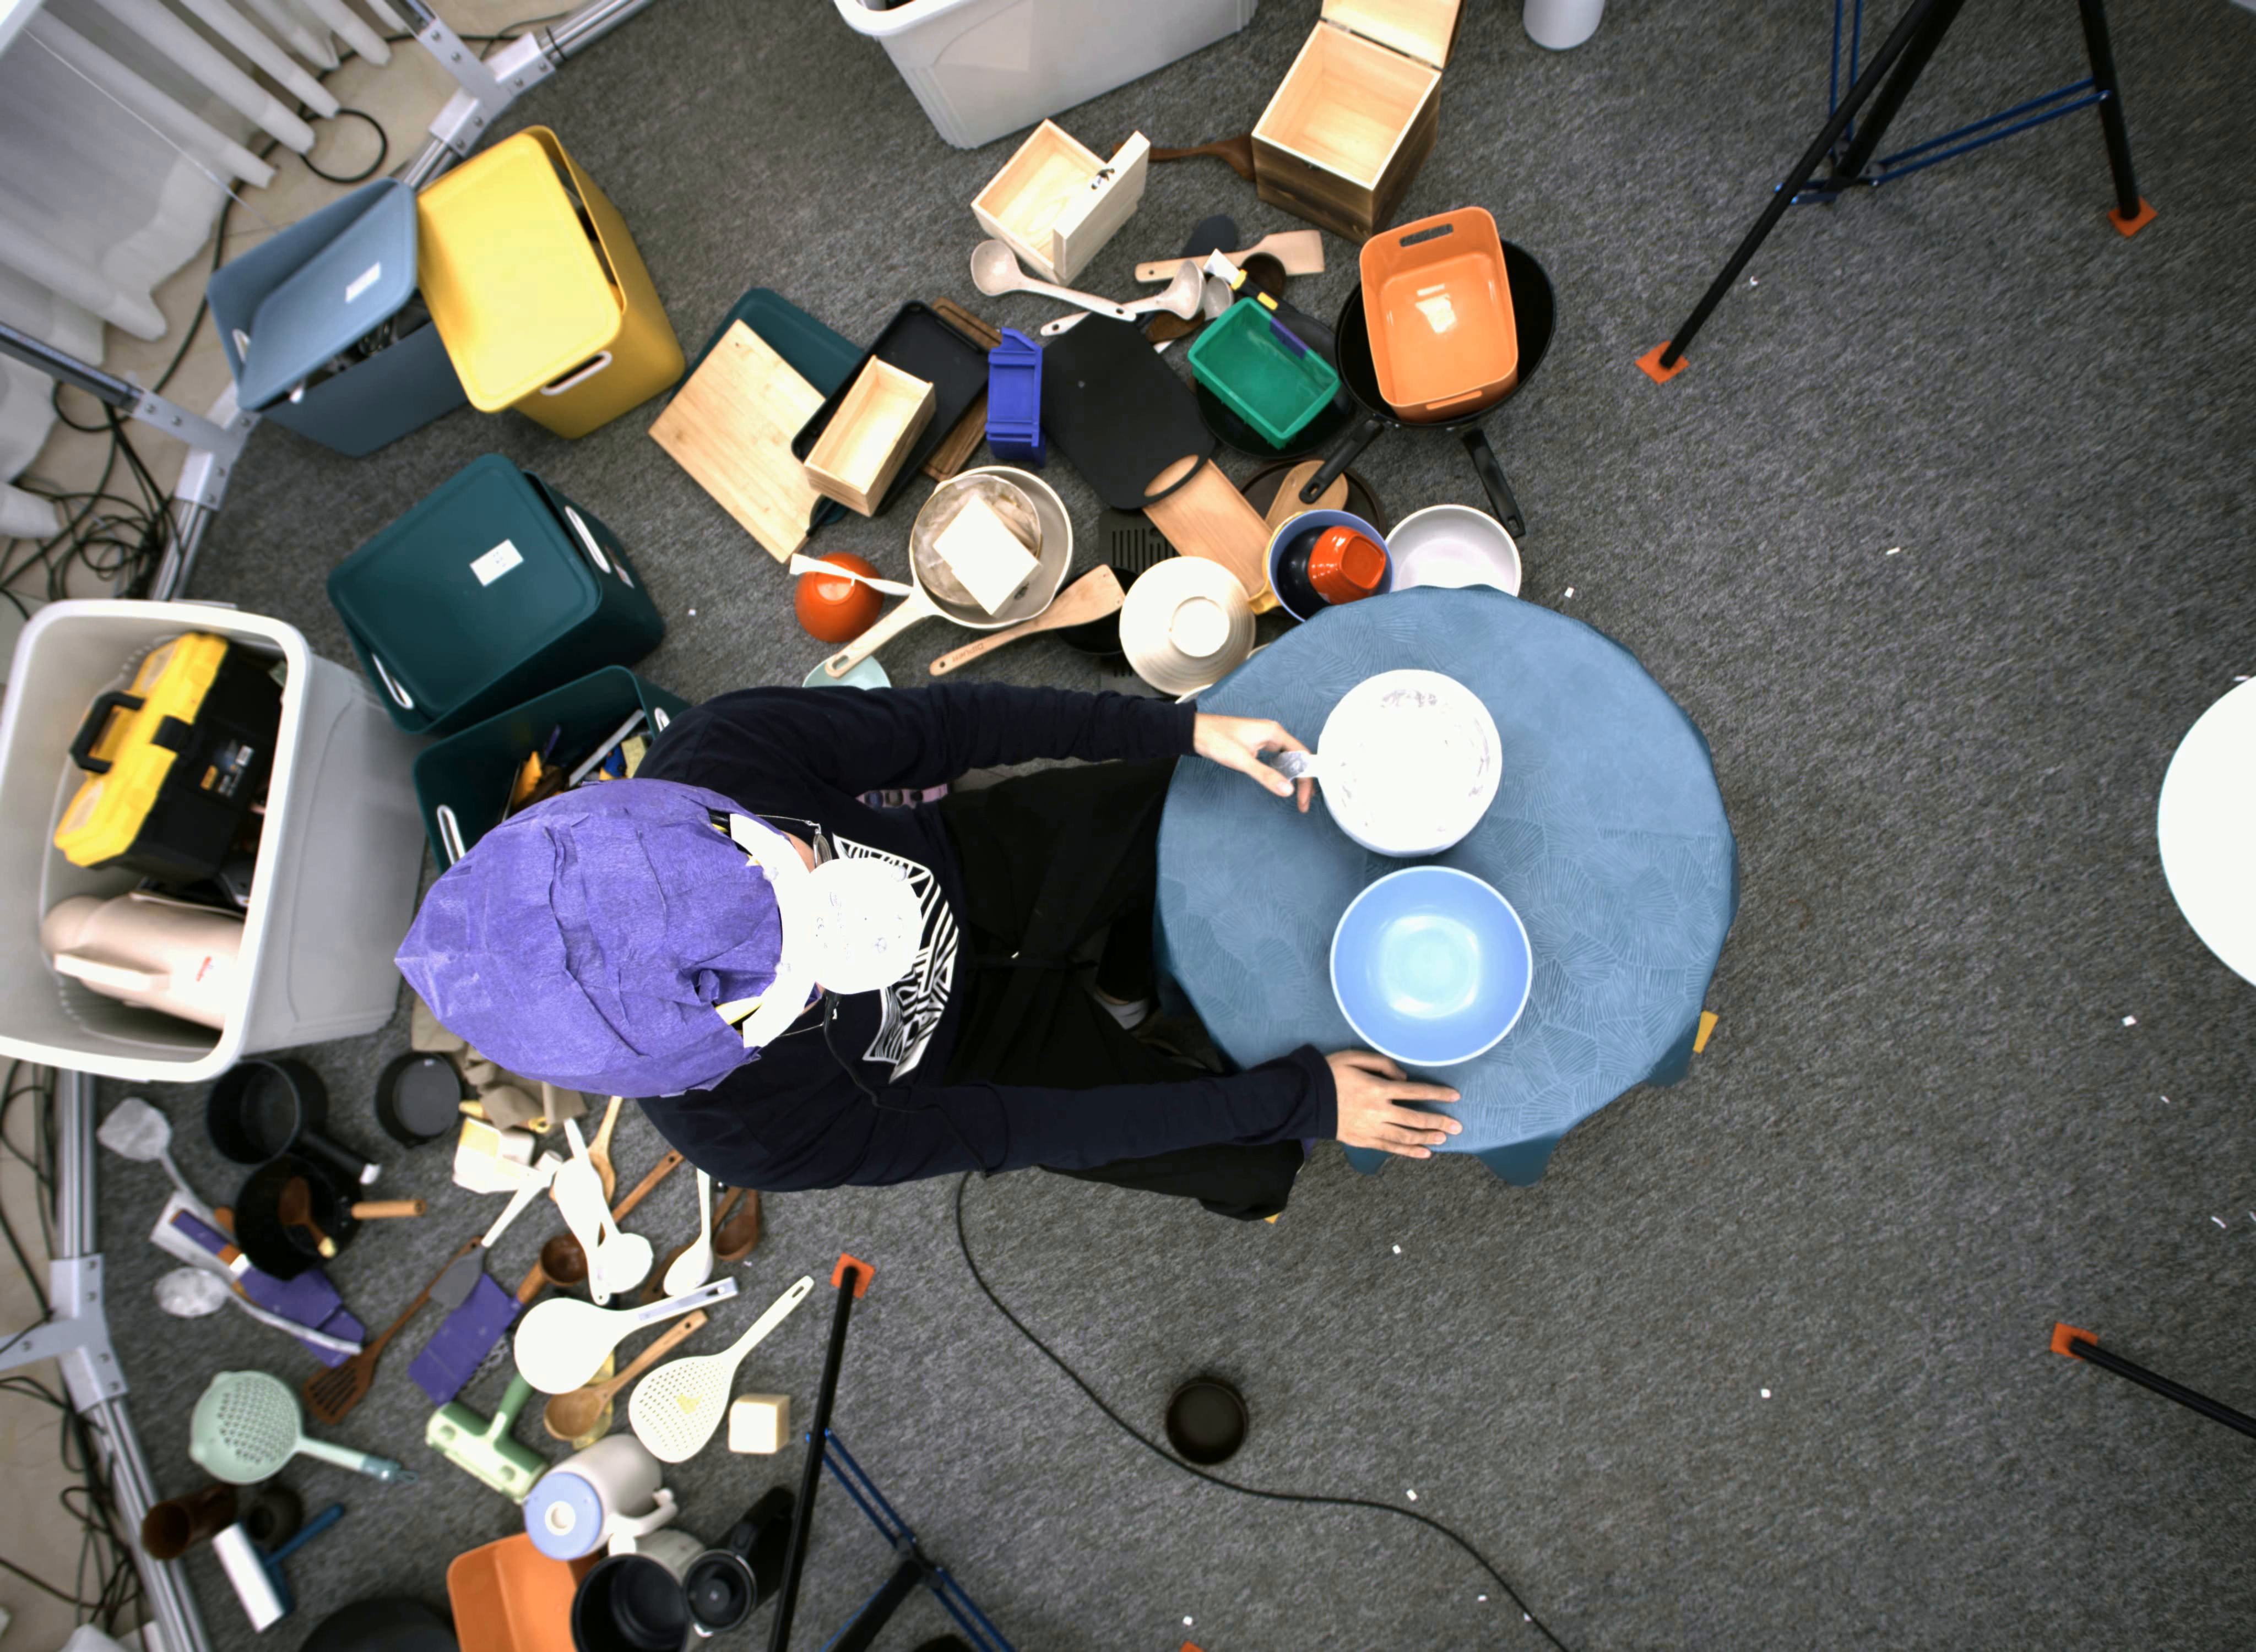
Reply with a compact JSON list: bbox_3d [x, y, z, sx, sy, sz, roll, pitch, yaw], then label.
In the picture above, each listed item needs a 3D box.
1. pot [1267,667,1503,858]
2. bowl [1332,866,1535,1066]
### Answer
[{"bbox_3d":[0.256,-0.059,1.400,0.234,0.137,0.177,-2,83,10],"label":"pot"},{"bbox_3d":[0.305,0.139,1.399,0.197,0.095,0.196,-1,87,8],"label":"bowl"}]
